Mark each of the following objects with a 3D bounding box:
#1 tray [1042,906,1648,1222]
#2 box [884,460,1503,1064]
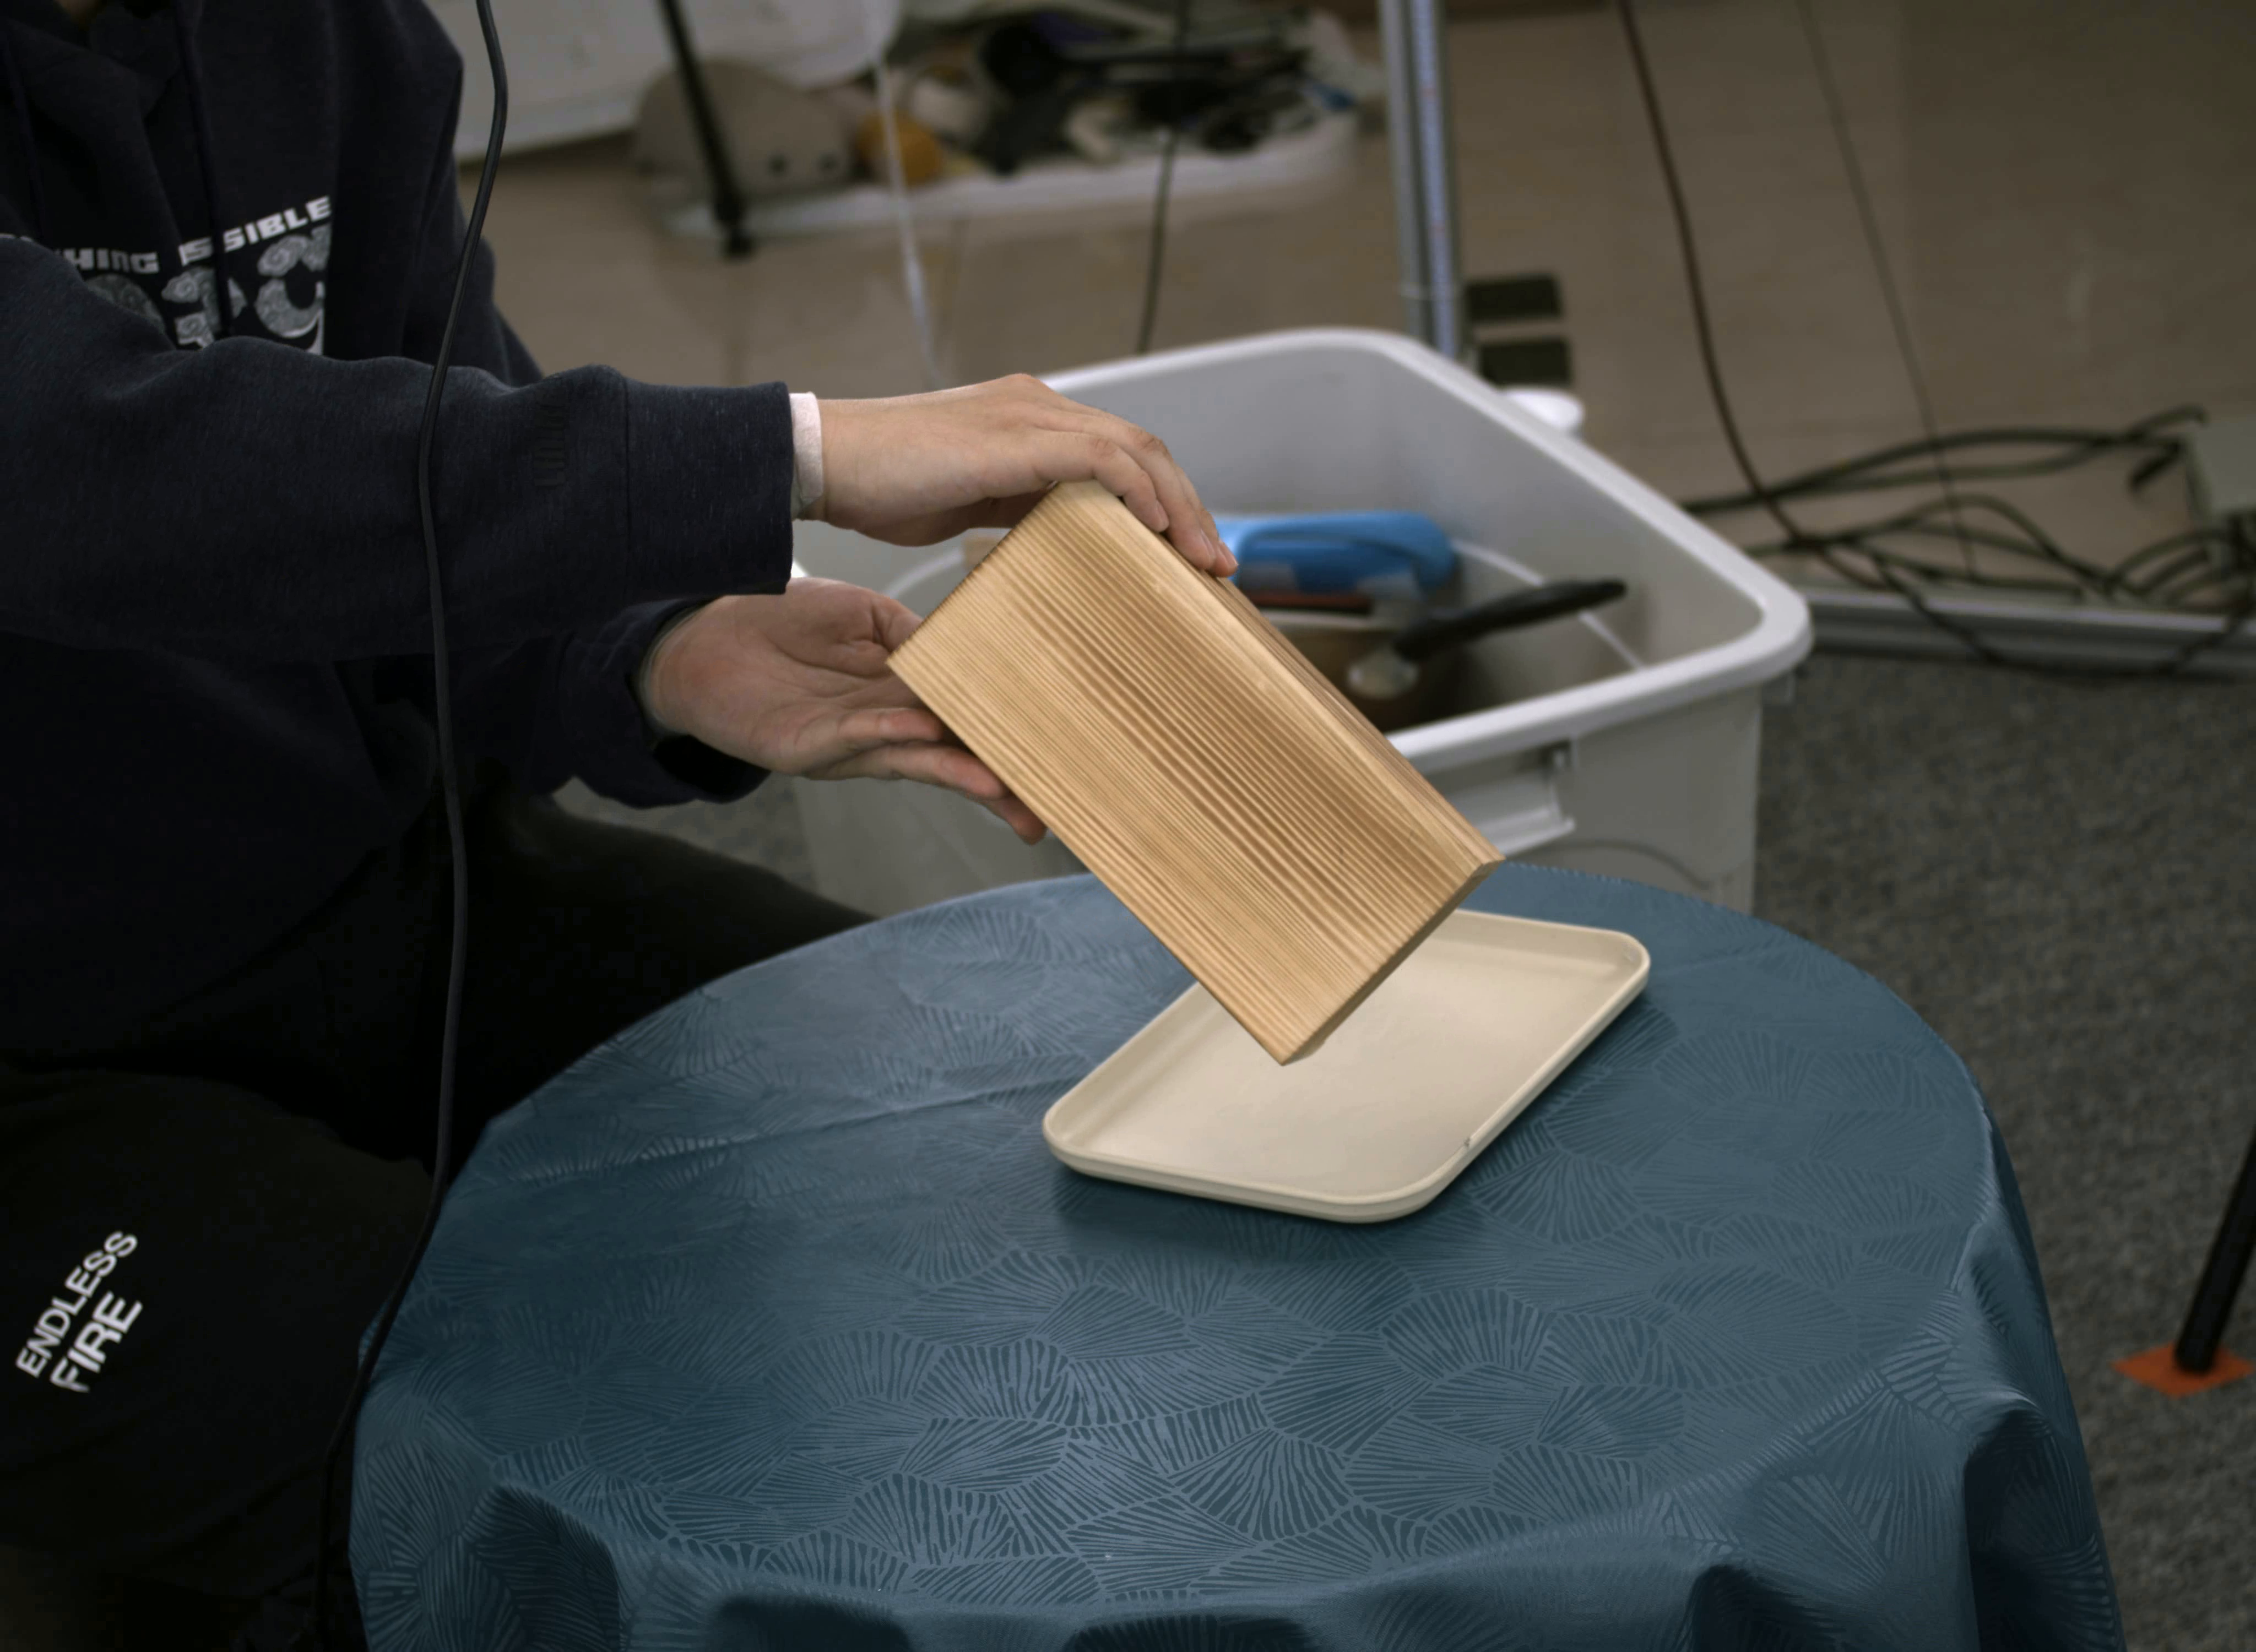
[{"bbox_3d":[0.087,0.090,2.214,0.170,0.018,0.237,8,28,30],"label":"tray"},{"bbox_3d":[0.025,-0.024,2.104,0.108,0.211,0.080,-45,-5,9],"label":"box"}]
